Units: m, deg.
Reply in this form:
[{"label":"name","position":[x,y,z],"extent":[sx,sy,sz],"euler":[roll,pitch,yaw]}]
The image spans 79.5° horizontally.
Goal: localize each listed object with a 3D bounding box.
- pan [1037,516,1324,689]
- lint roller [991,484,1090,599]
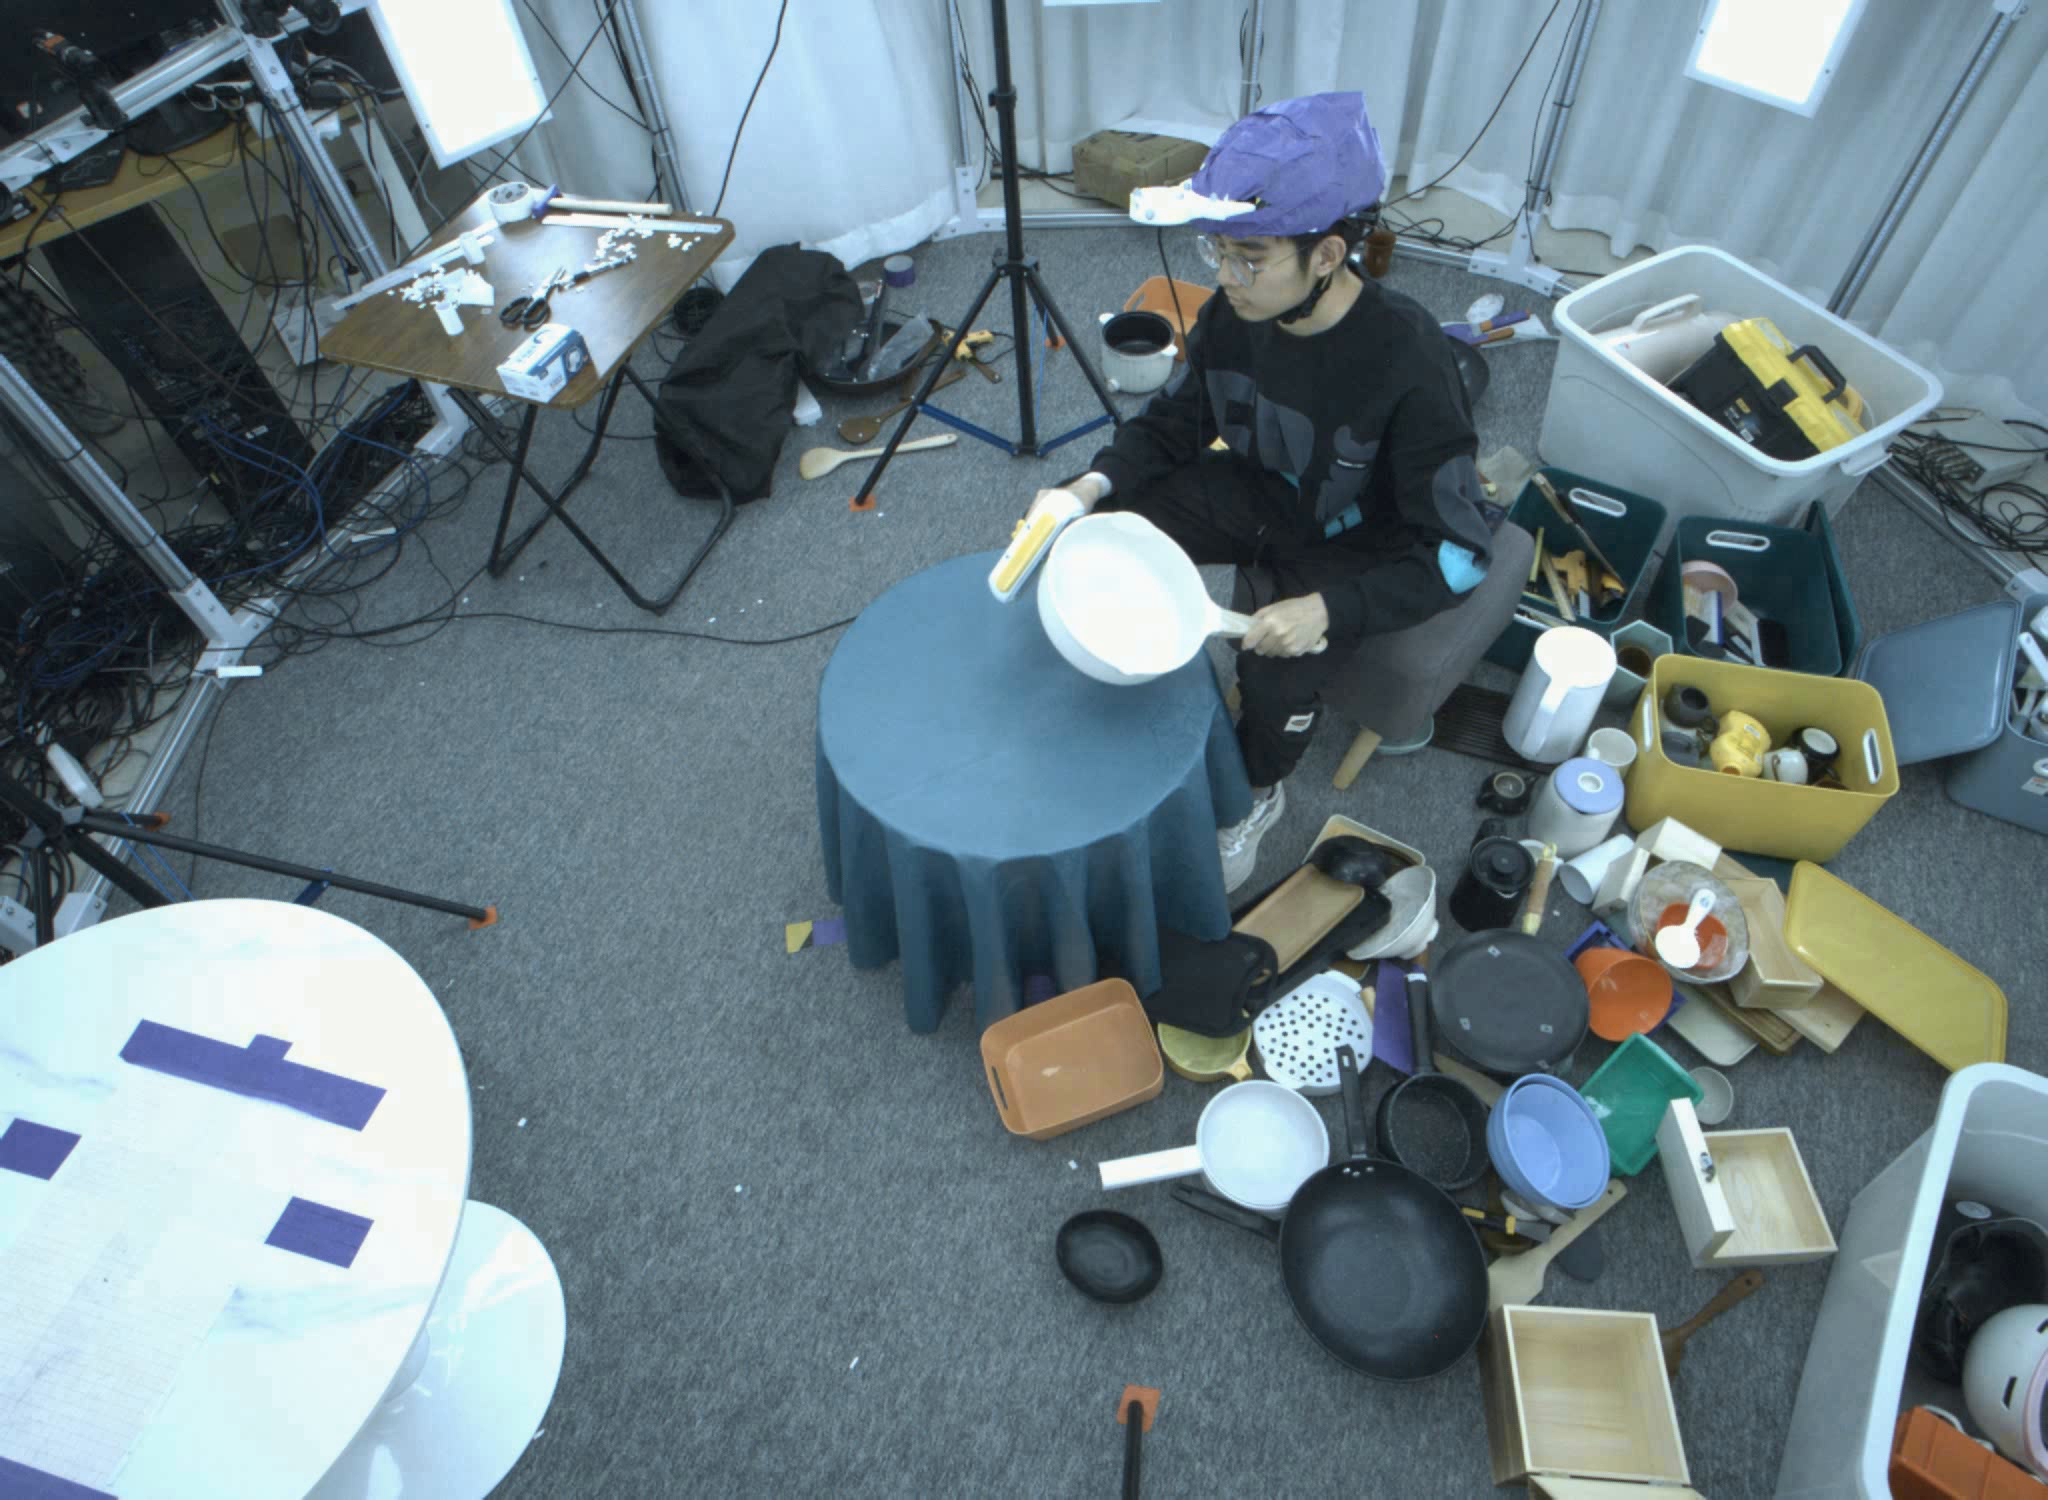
[{"label":"pan","position":[0.219,-0.182,1.759],"extent":[0.442,0.101,0.261],"euler":[13,62,-22]},{"label":"lint roller","position":[0.038,-0.320,1.812],"extent":[0.074,0.192,0.194],"euler":[38,29,7]}]
